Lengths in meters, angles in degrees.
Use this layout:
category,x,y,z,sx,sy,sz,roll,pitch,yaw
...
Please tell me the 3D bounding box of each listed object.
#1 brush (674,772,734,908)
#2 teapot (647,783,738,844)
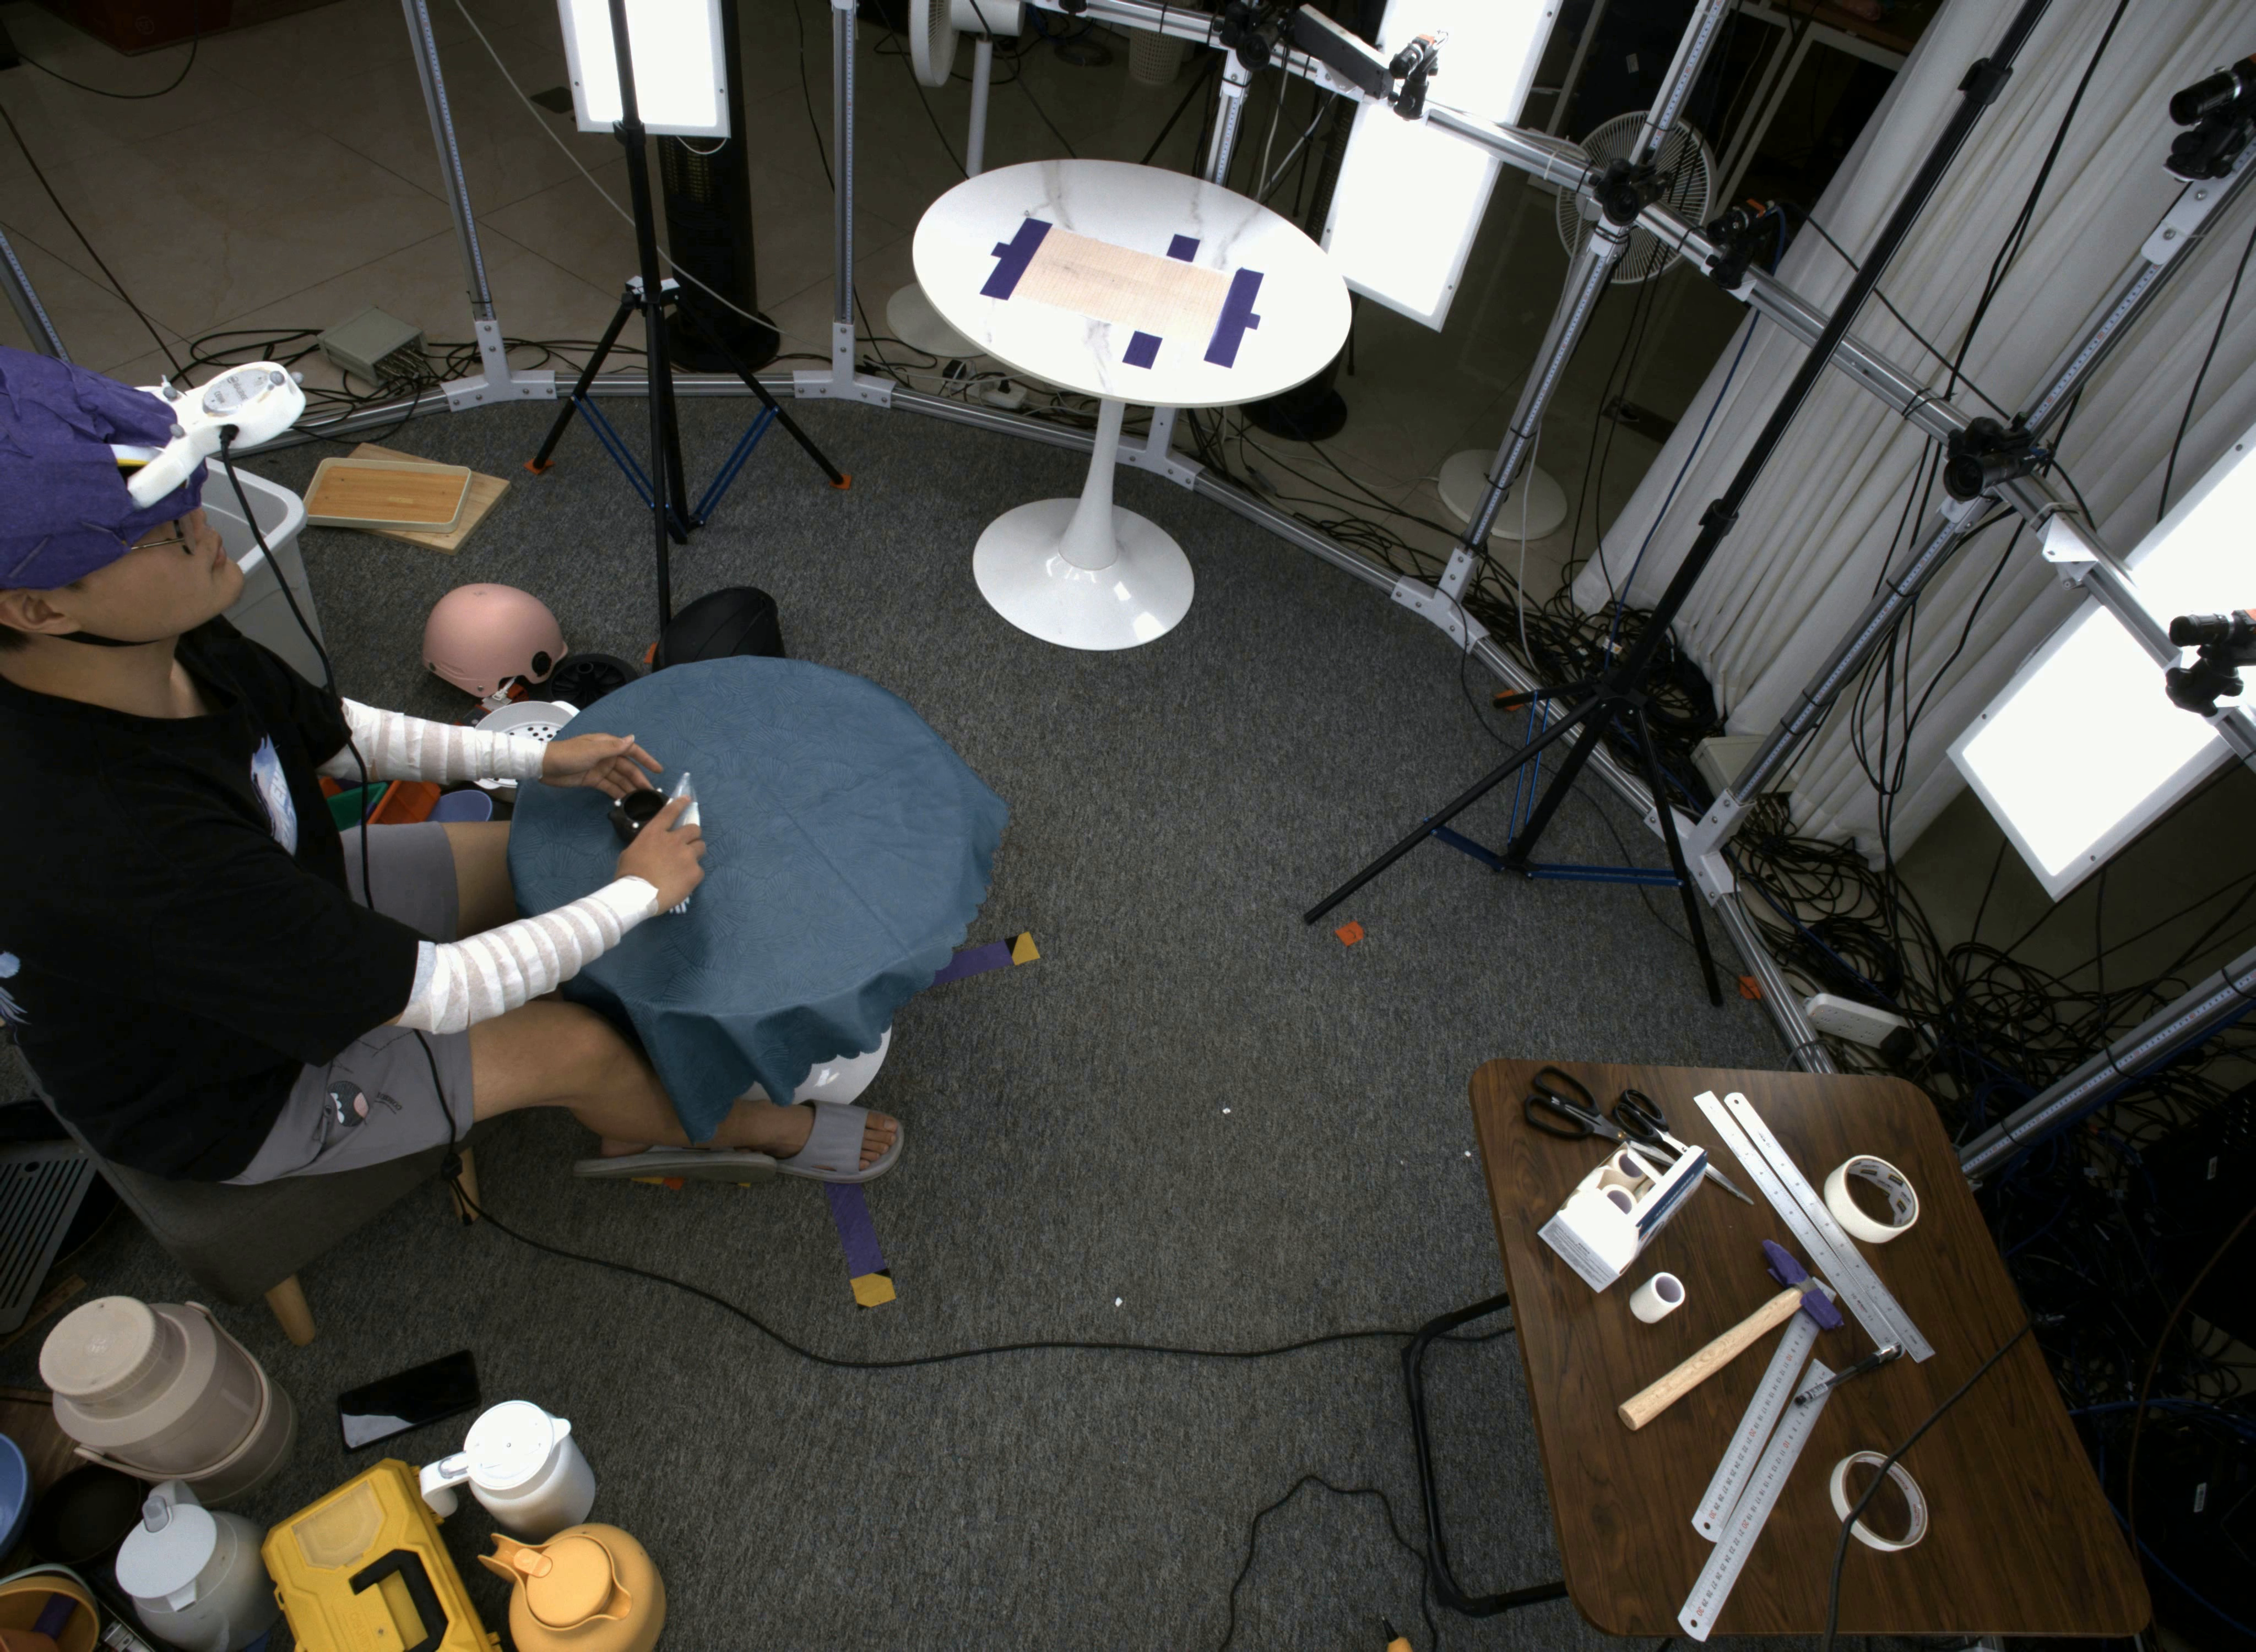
category,x,y,z,sx,sy,sz,roll,pitch,yaw
brush,-0.521,0.003,1.610,0.062,0.094,0.174,14,65,-17
teapot,-0.567,-0.021,1.682,0.114,0.054,0.081,-10,57,-18
